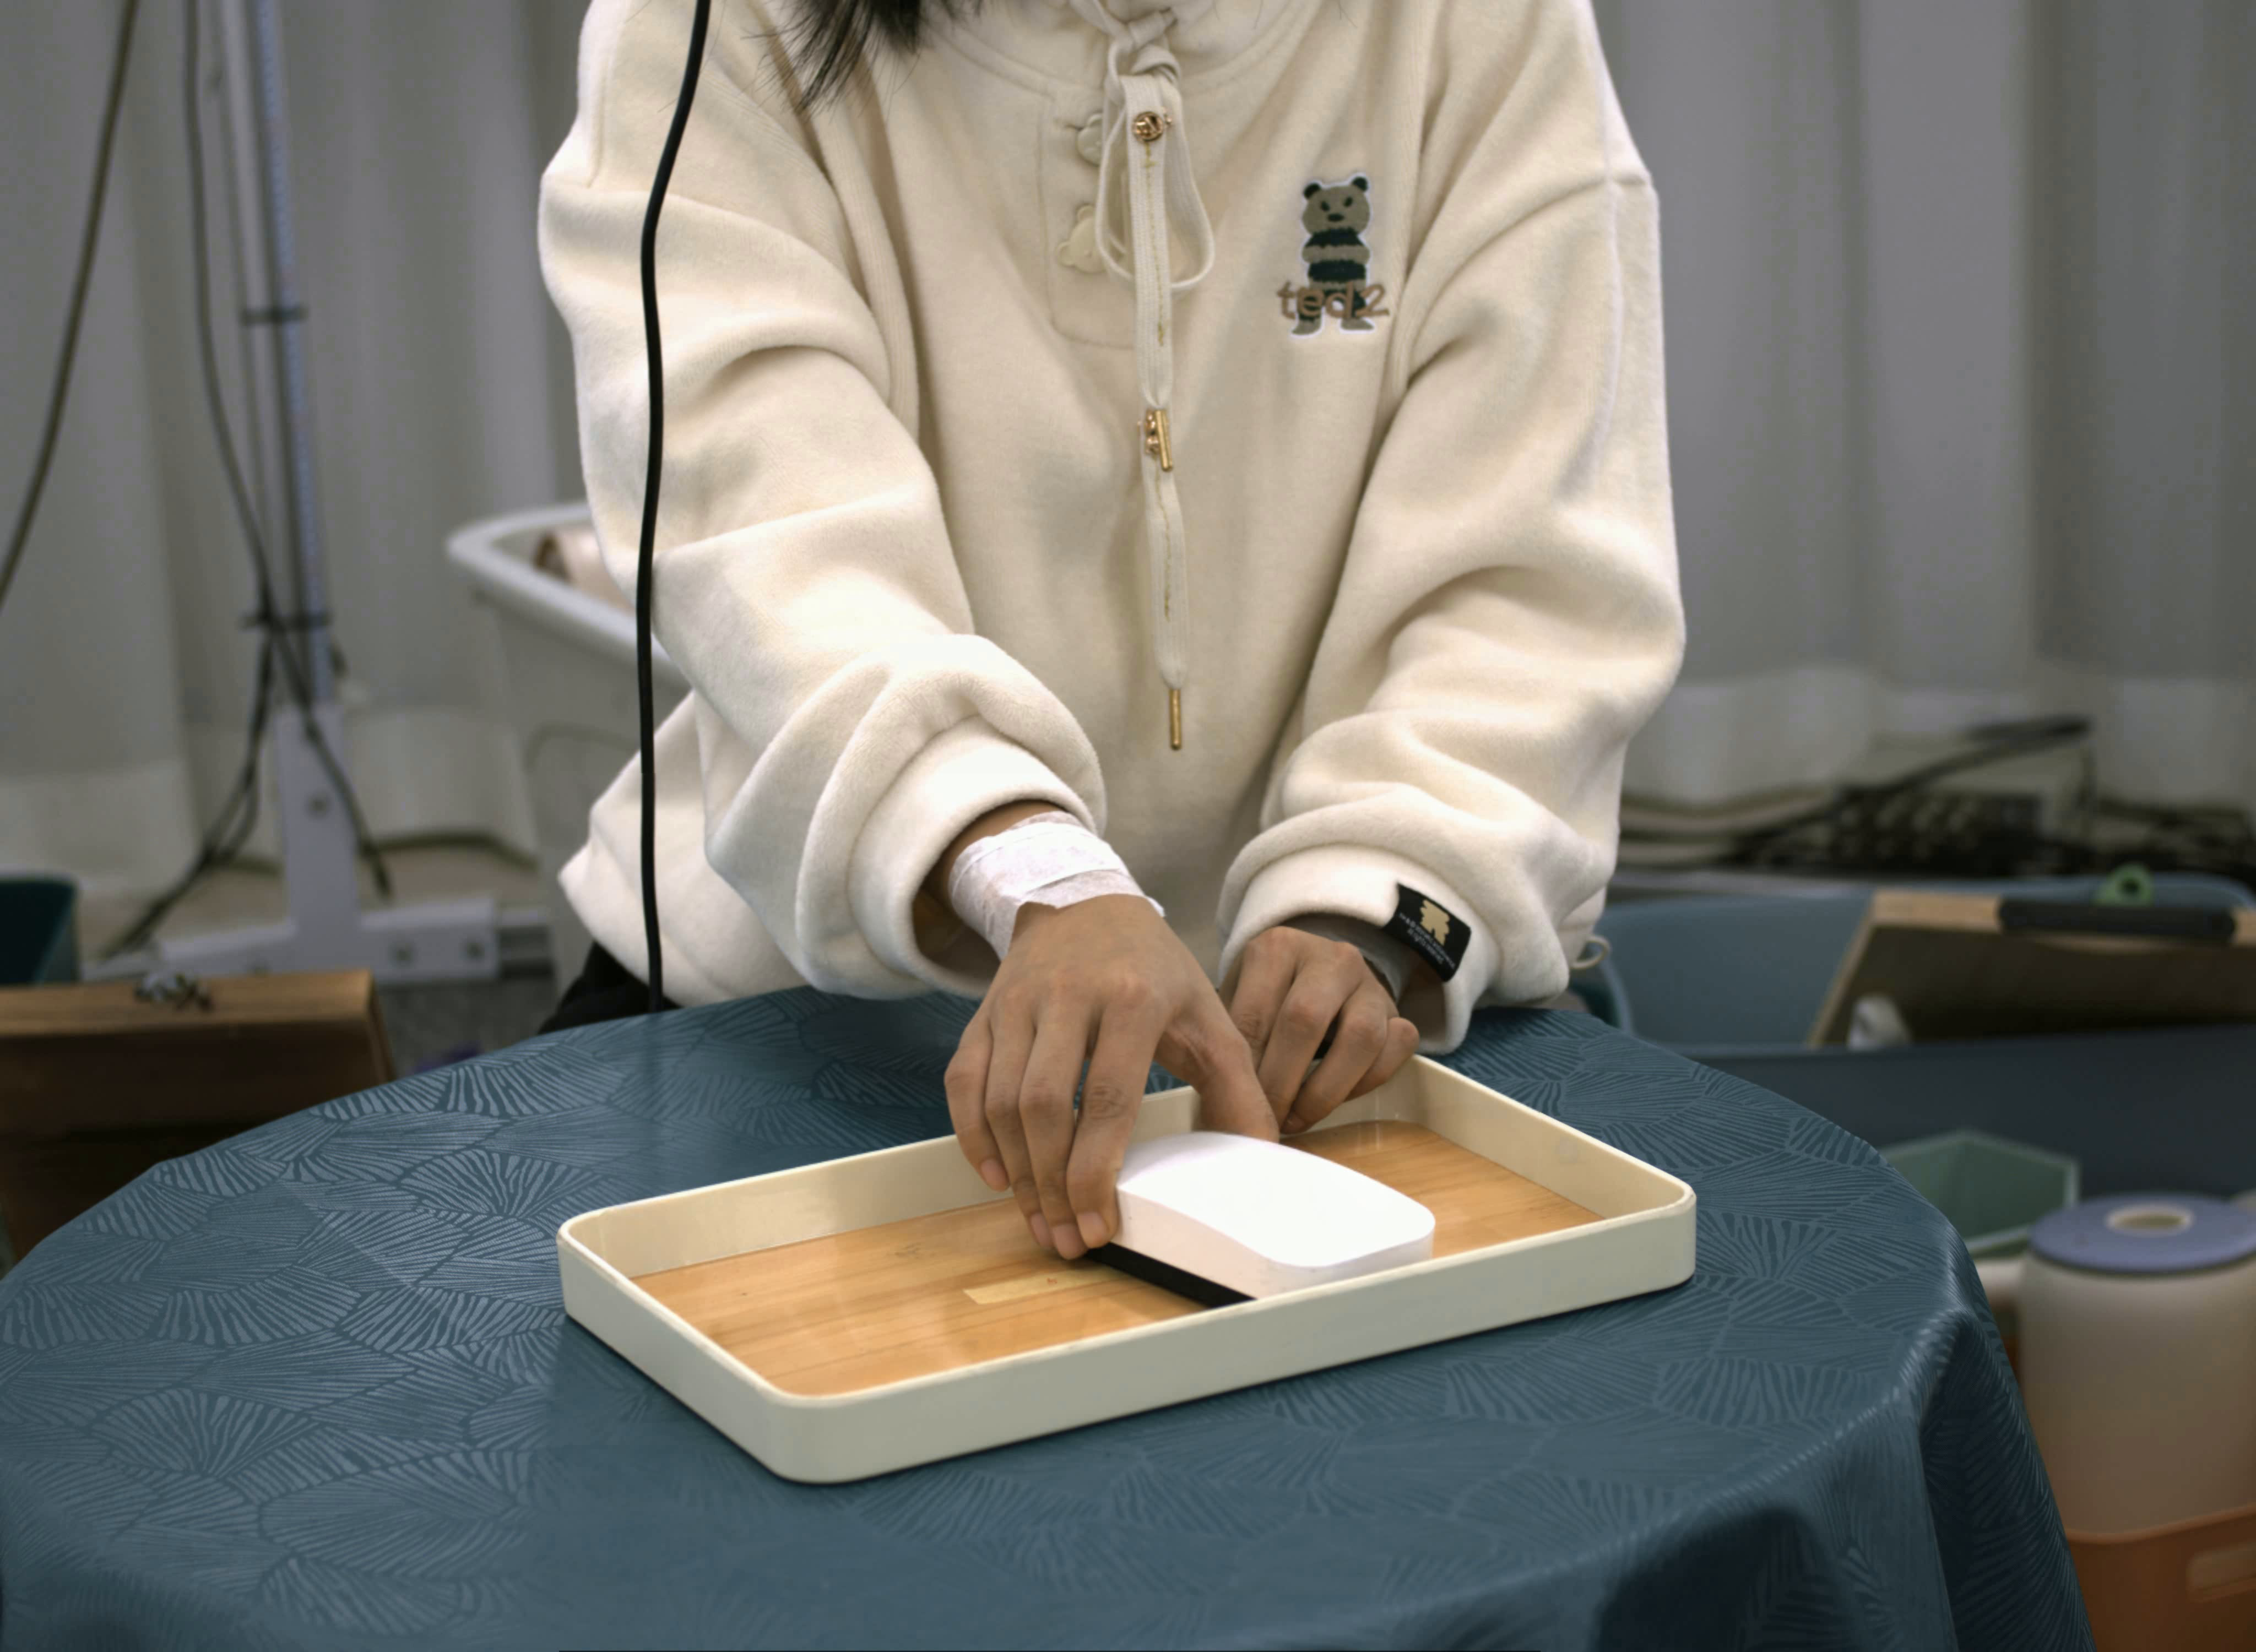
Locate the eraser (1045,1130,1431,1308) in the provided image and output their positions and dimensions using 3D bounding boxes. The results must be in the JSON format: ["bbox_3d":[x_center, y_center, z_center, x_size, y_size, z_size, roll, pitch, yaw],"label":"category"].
[{"bbox_3d":[0.033,0.117,1.615,0.063,0.034,0.132,-12,17,-33],"label":"eraser"}]

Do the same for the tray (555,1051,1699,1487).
[{"bbox_3d":[-0.001,0.127,1.618,0.299,0.027,0.193,-10,17,-25],"label":"tray"}]
